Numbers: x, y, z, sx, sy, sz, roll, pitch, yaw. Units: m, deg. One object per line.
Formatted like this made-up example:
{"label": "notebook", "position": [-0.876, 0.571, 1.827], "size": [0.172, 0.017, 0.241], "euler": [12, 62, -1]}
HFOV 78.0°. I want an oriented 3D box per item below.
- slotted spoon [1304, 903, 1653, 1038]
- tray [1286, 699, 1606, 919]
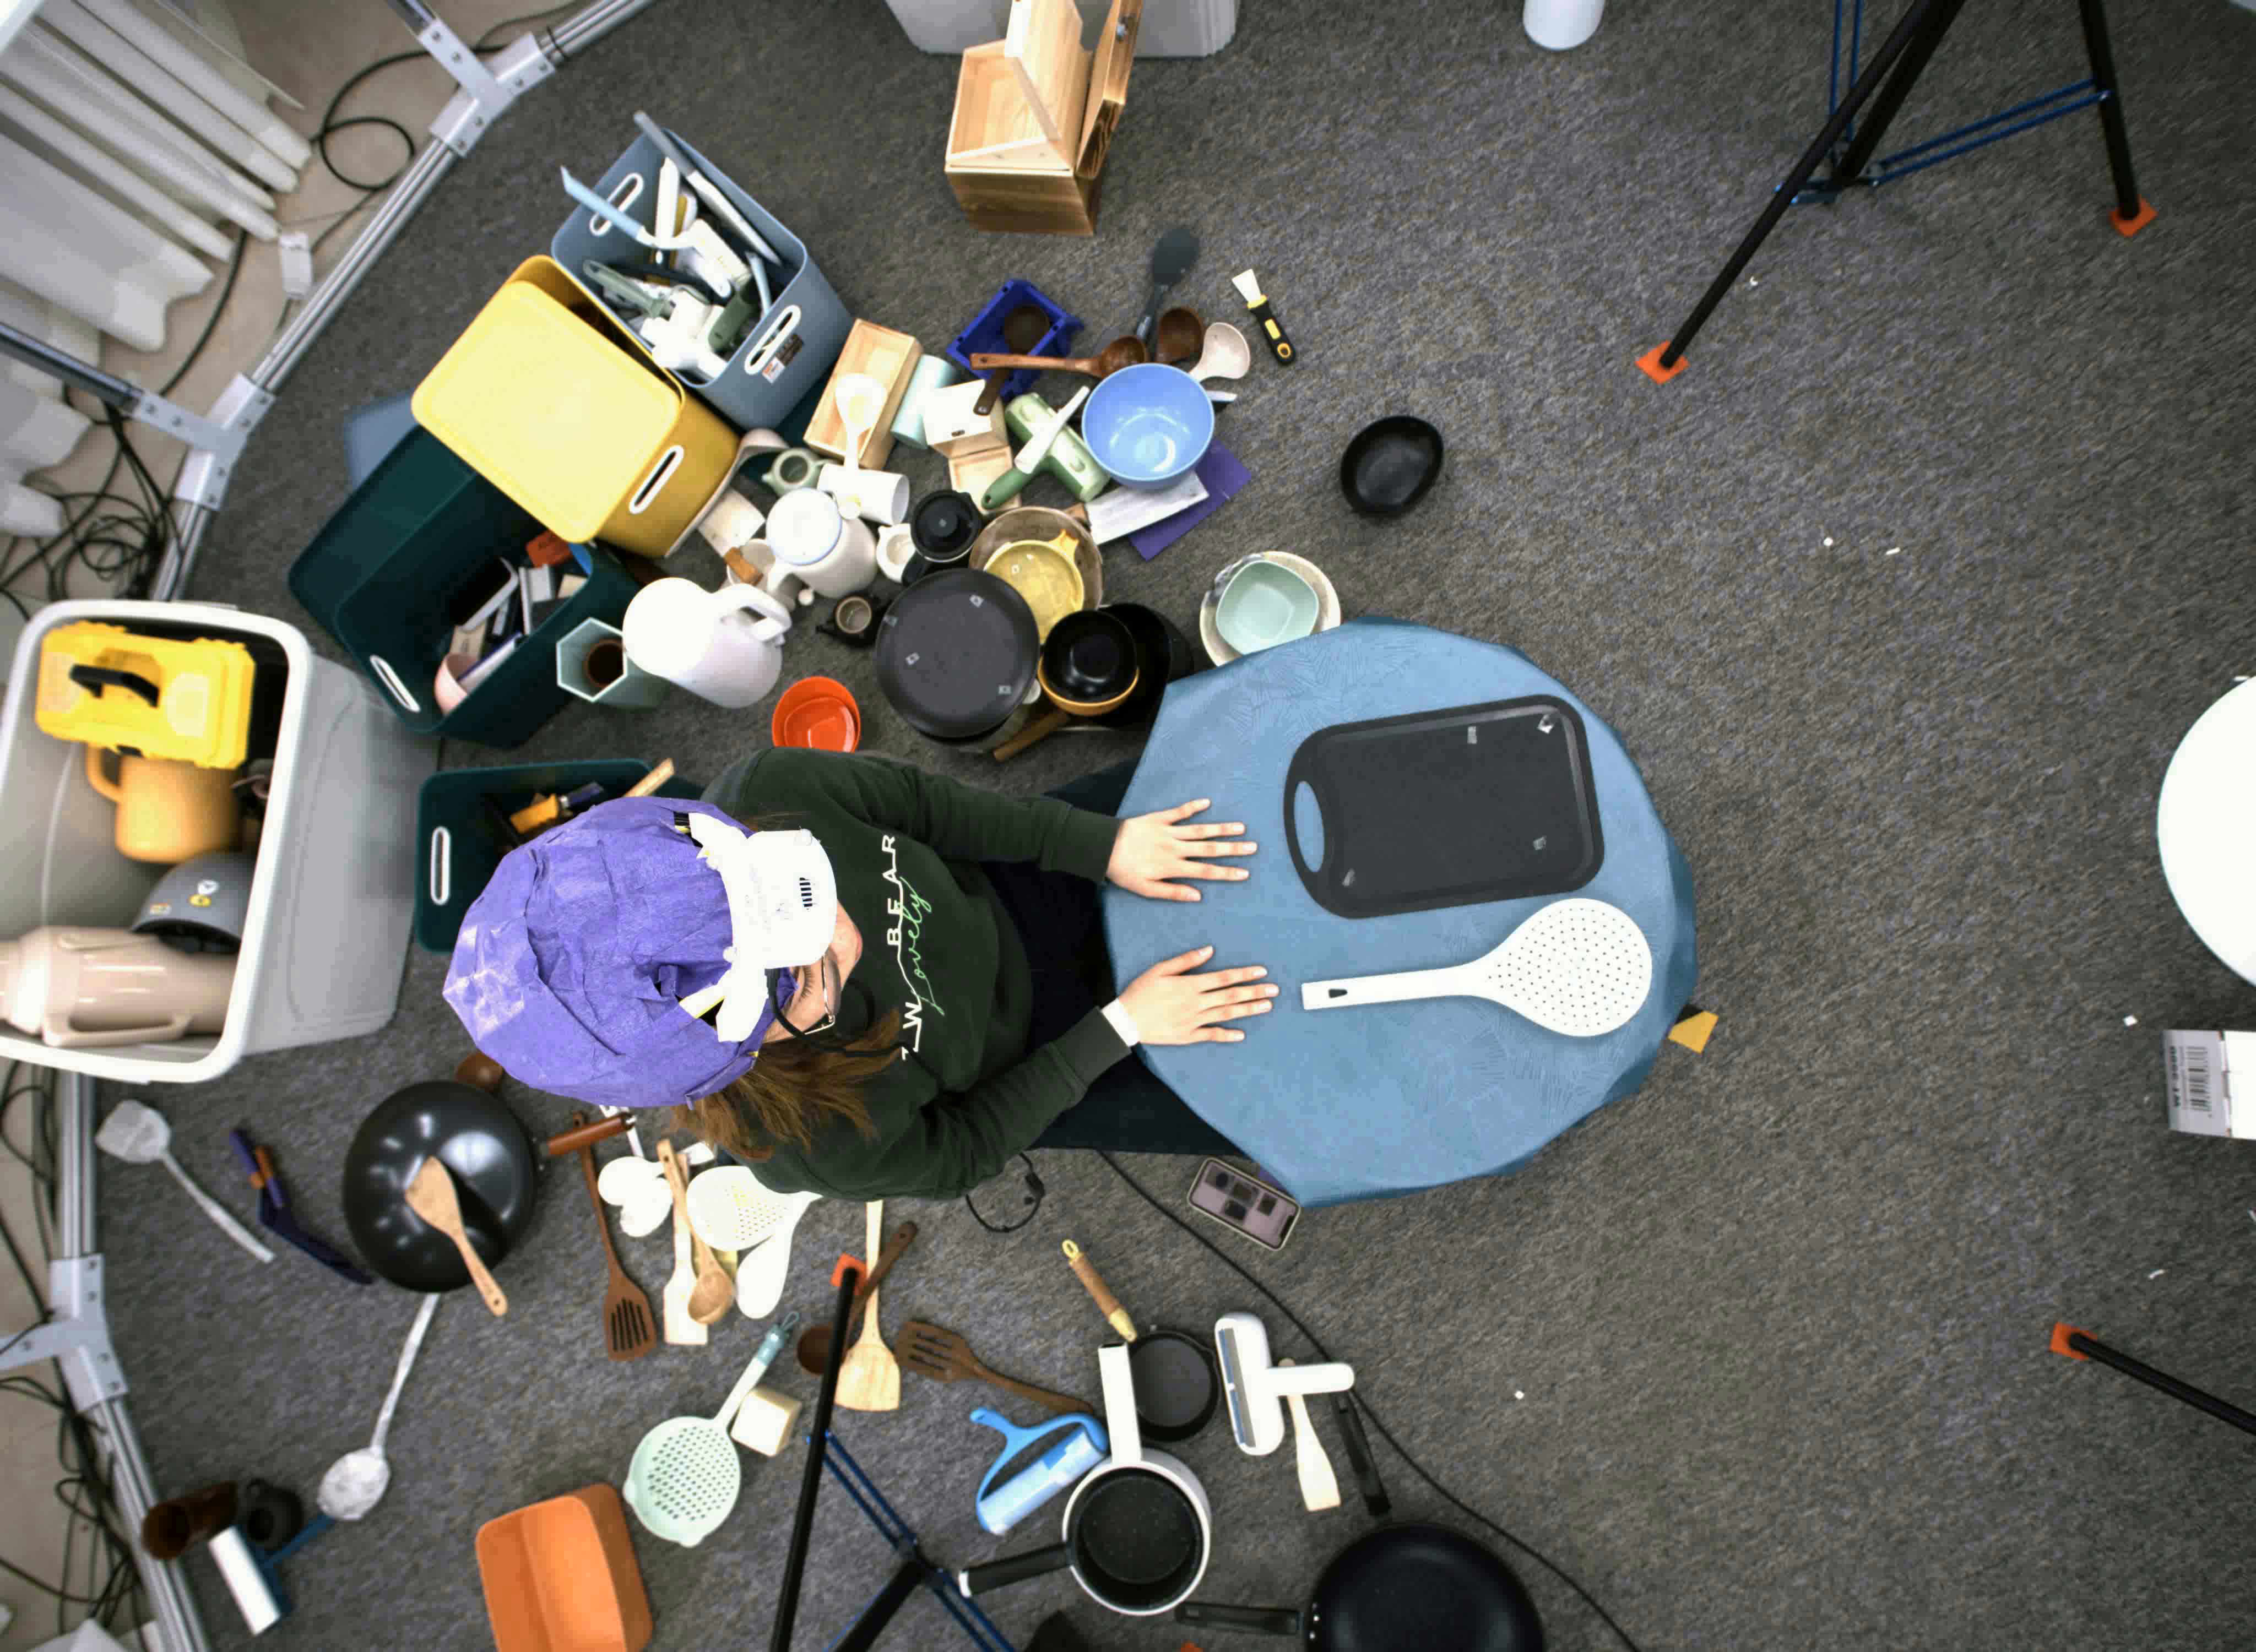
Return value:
{"label": "slotted spoon", "position": [0.356, 0.158, 1.420], "size": [0.351, 0.046, 0.135], "euler": [-7, 82, 11]}
{"label": "tray", "position": [0.331, -0.018, 1.456], "size": [0.327, 0.010, 0.210], "euler": [-8, 84, 10]}
